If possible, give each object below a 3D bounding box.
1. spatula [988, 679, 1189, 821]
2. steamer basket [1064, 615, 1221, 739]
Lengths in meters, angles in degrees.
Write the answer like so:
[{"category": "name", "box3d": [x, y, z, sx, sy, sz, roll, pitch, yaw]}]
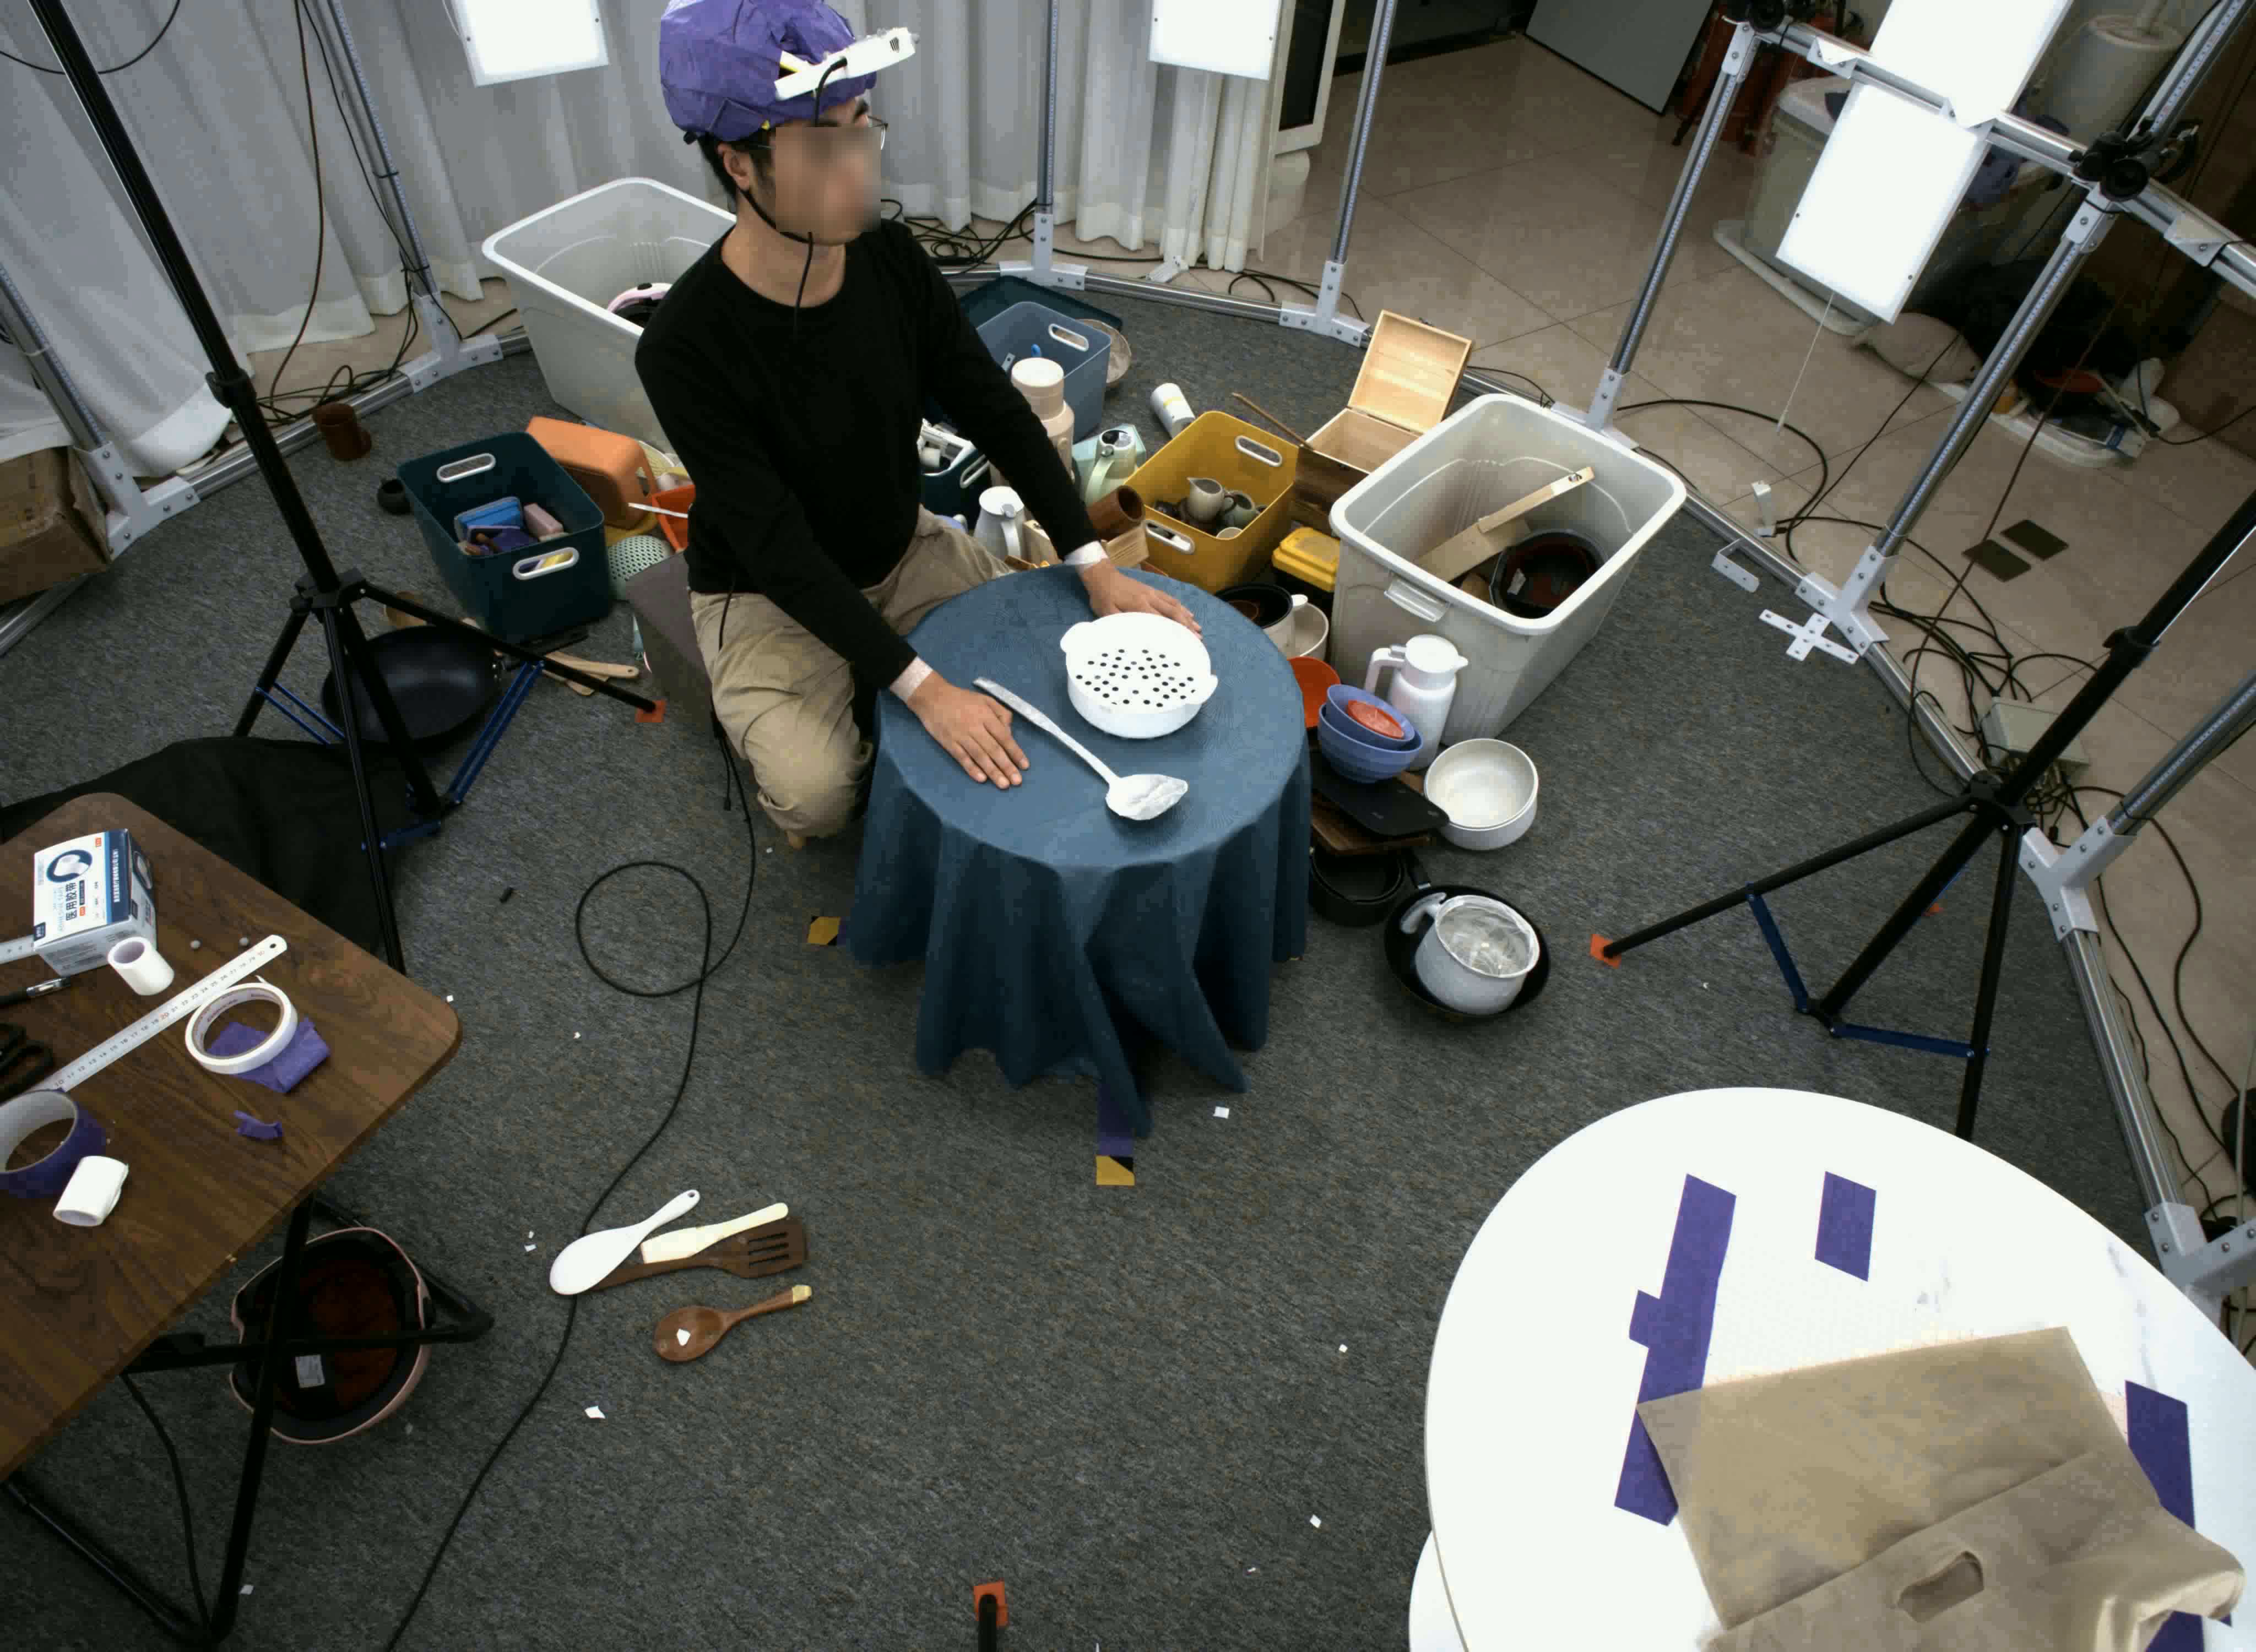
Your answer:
[{"category": "spatula", "box3d": [-0.073, -0.116, 1.741, 0.370, 0.044, 0.099, 38, 59, 26]}, {"category": "steamer basket", "box3d": [0.017, -0.210, 1.808, 0.232, 0.067, 0.205, 24, 51, 17]}]
